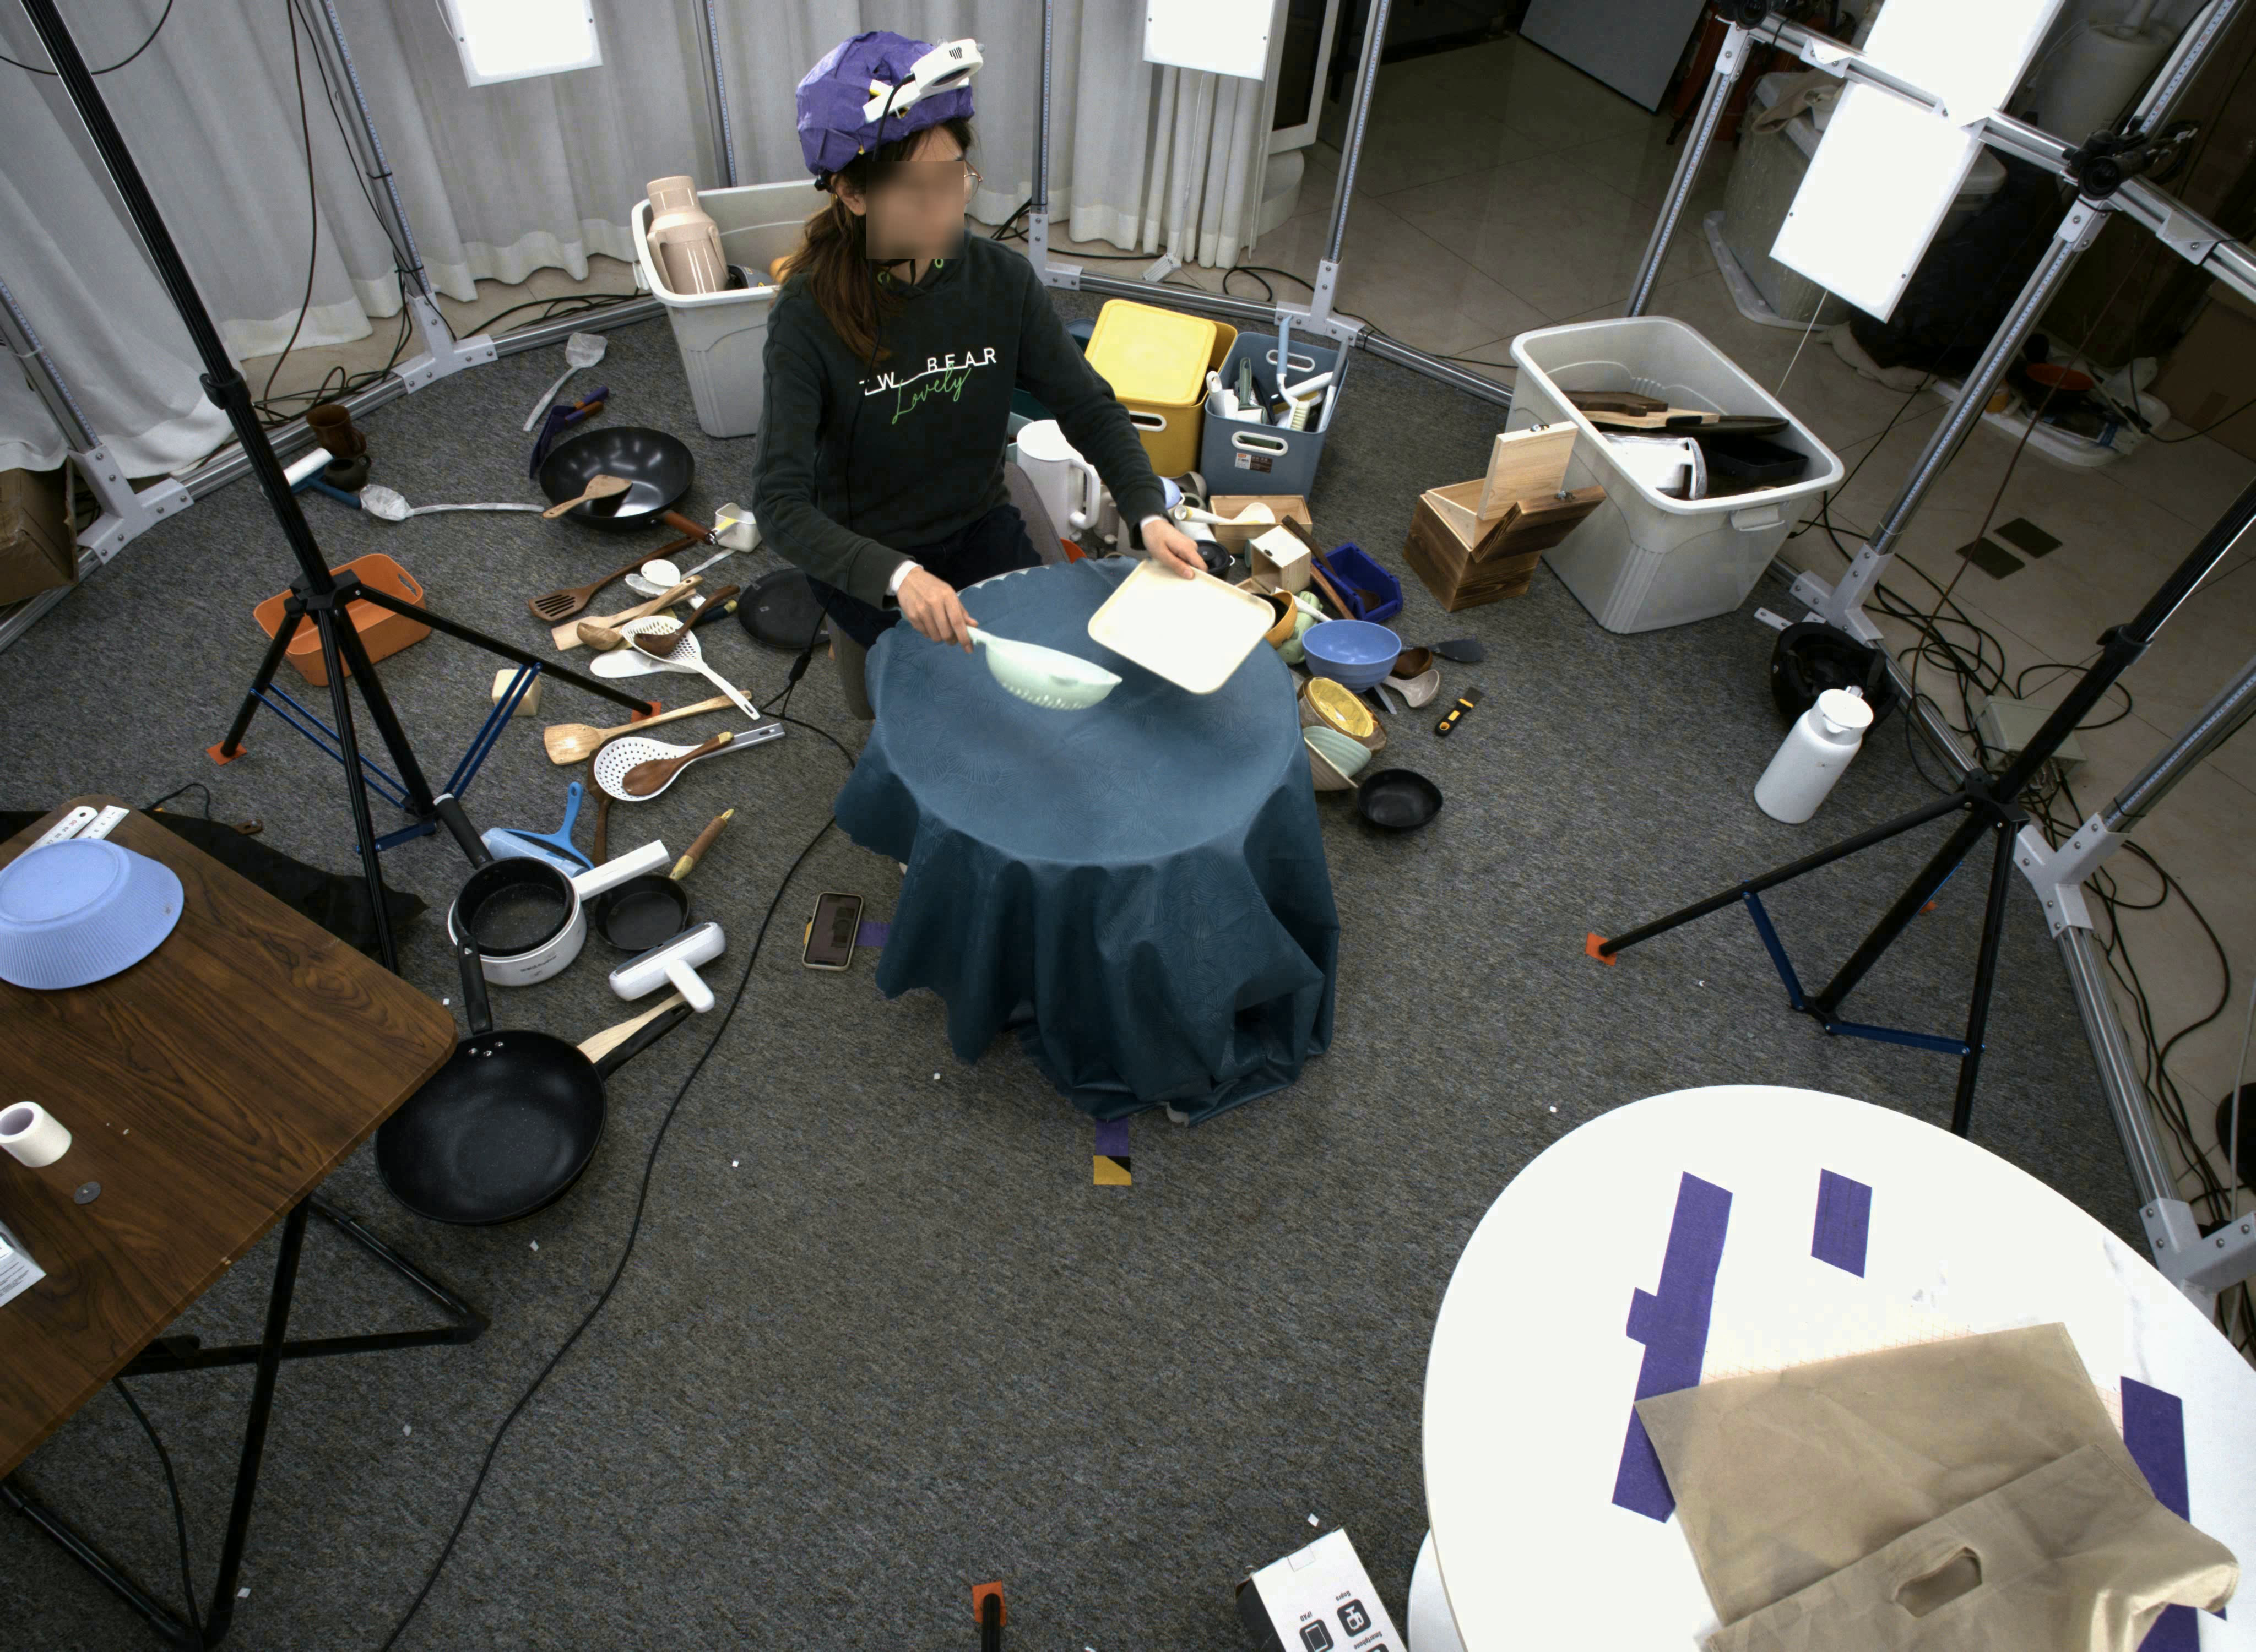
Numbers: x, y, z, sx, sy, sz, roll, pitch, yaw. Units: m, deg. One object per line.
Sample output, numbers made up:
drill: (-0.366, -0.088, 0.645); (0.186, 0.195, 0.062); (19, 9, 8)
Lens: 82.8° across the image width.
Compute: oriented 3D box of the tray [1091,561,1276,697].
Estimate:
tray: (0.076, -0.276, 1.789); (0.243, 0.017, 0.172); (31, 72, 33)

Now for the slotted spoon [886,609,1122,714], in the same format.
slotted spoon: (-0.178, -0.227, 1.669); (0.364, 0.074, 0.169); (32, 20, 26)
